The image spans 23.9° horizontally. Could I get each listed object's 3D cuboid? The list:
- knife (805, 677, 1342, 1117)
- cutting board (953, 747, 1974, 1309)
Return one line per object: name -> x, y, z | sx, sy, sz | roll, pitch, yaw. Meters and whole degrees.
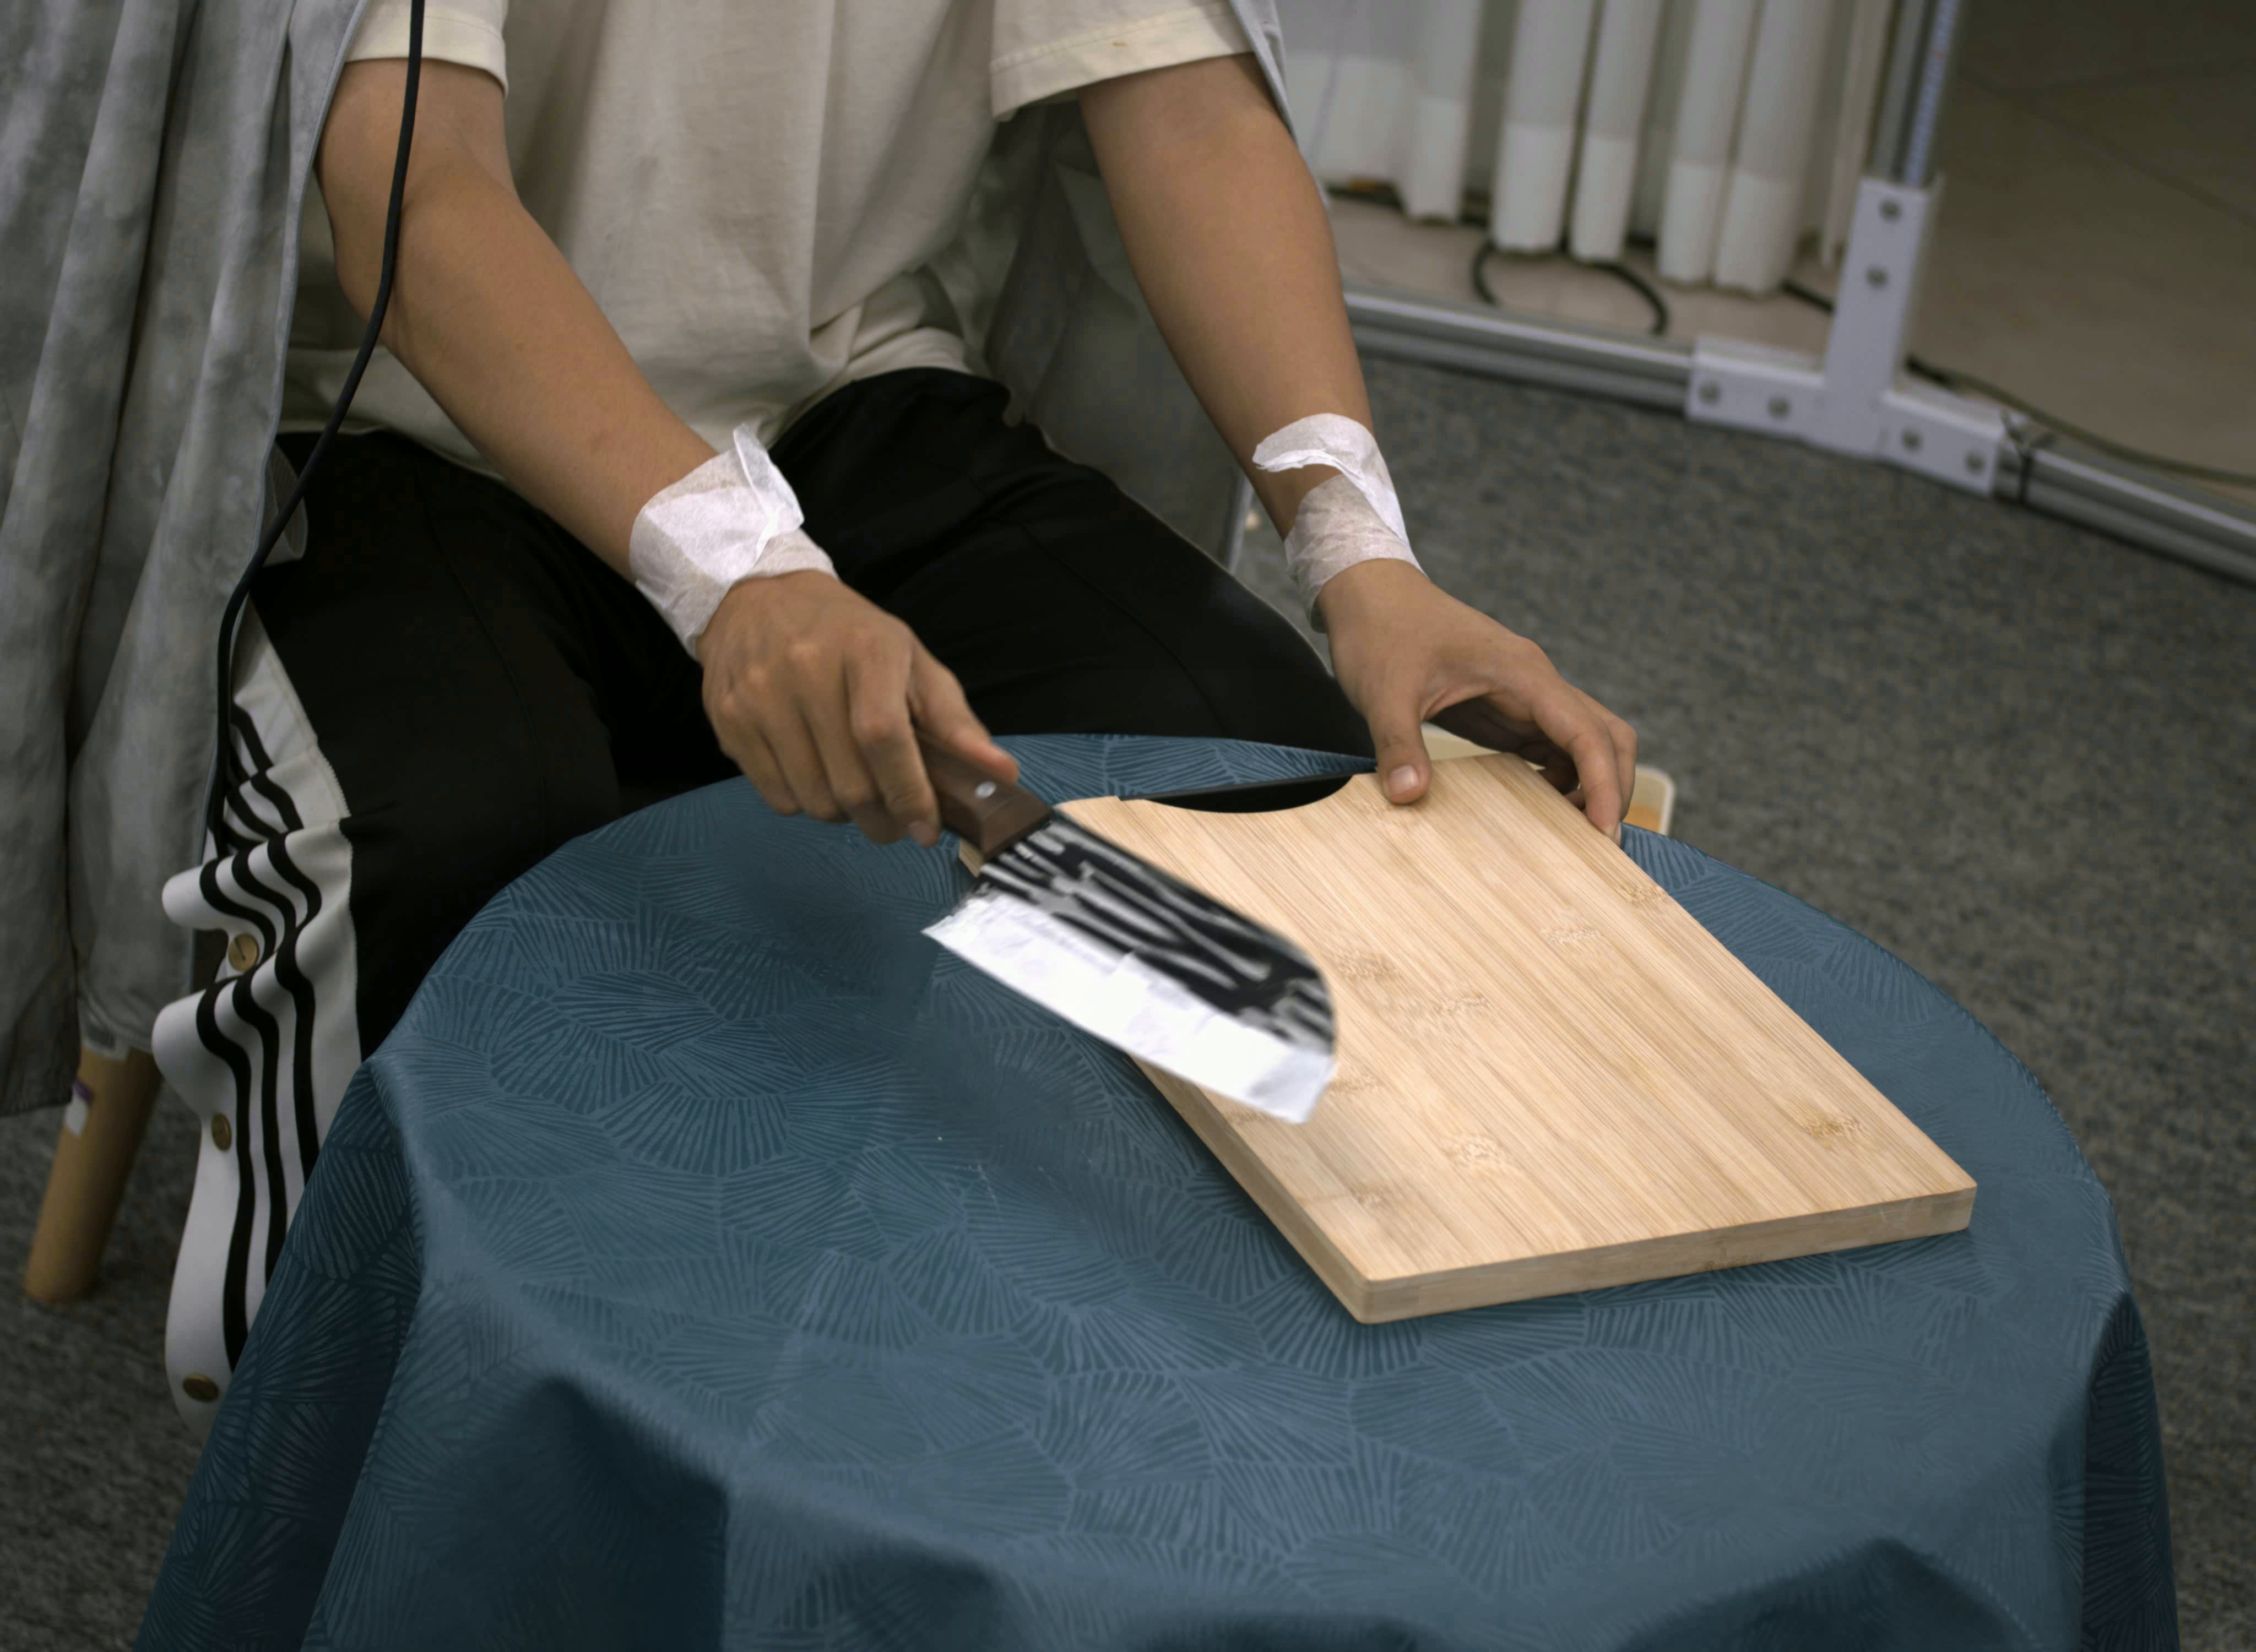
knife -> -0.027, 0.023, 1.834 | 0.068, 0.024, 0.302 | -43, 47, -20
cutting board -> 0.112, 0.066, 1.926 | 0.249, 0.023, 0.352 | -7, 29, -25
